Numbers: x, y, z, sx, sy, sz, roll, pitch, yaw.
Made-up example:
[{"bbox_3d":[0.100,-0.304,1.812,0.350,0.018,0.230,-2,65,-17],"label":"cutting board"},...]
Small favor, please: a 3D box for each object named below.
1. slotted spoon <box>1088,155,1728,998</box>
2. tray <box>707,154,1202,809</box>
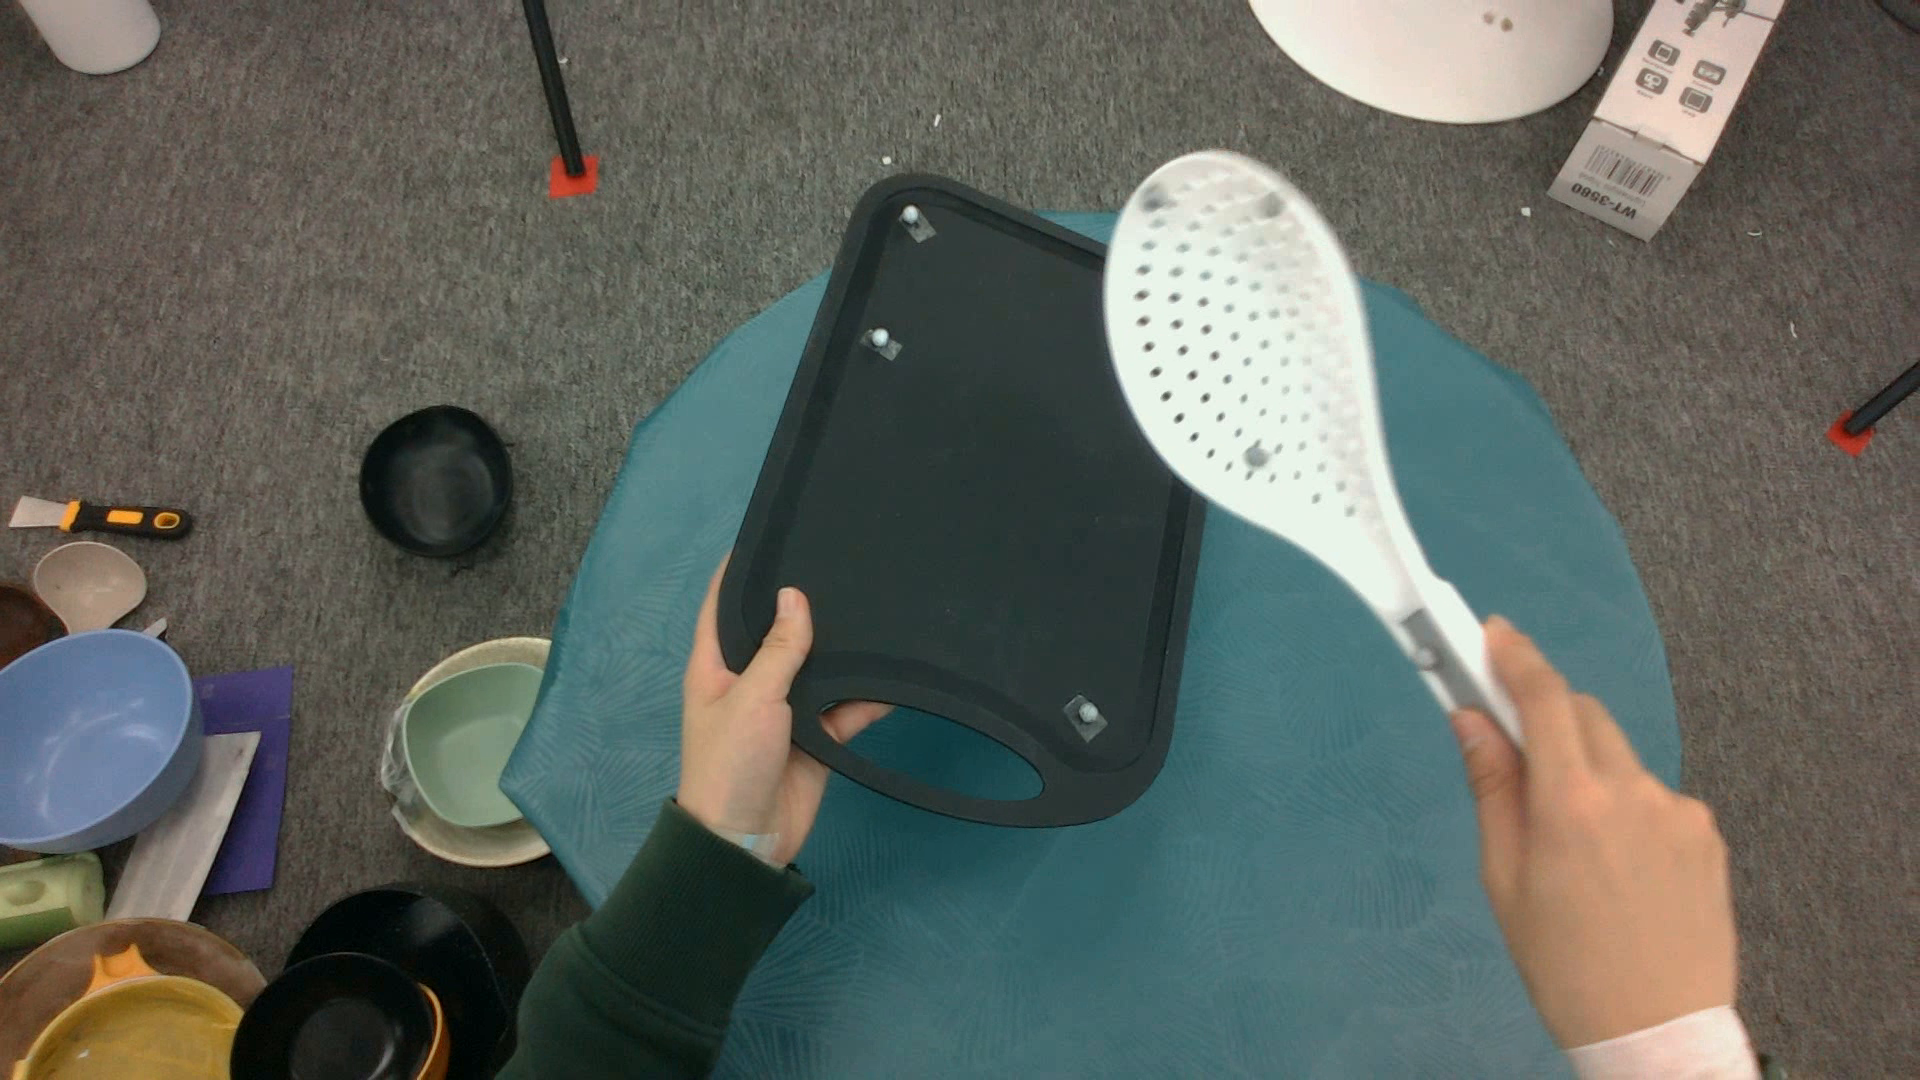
[{"bbox_3d":[0.154,0.005,0.500,0.046,0.135,0.350,-21,71,-22],"label":"slotted spoon"},{"bbox_3d":[0.015,-0.037,0.637,0.211,0.010,0.327,20,59,-11],"label":"tray"}]
